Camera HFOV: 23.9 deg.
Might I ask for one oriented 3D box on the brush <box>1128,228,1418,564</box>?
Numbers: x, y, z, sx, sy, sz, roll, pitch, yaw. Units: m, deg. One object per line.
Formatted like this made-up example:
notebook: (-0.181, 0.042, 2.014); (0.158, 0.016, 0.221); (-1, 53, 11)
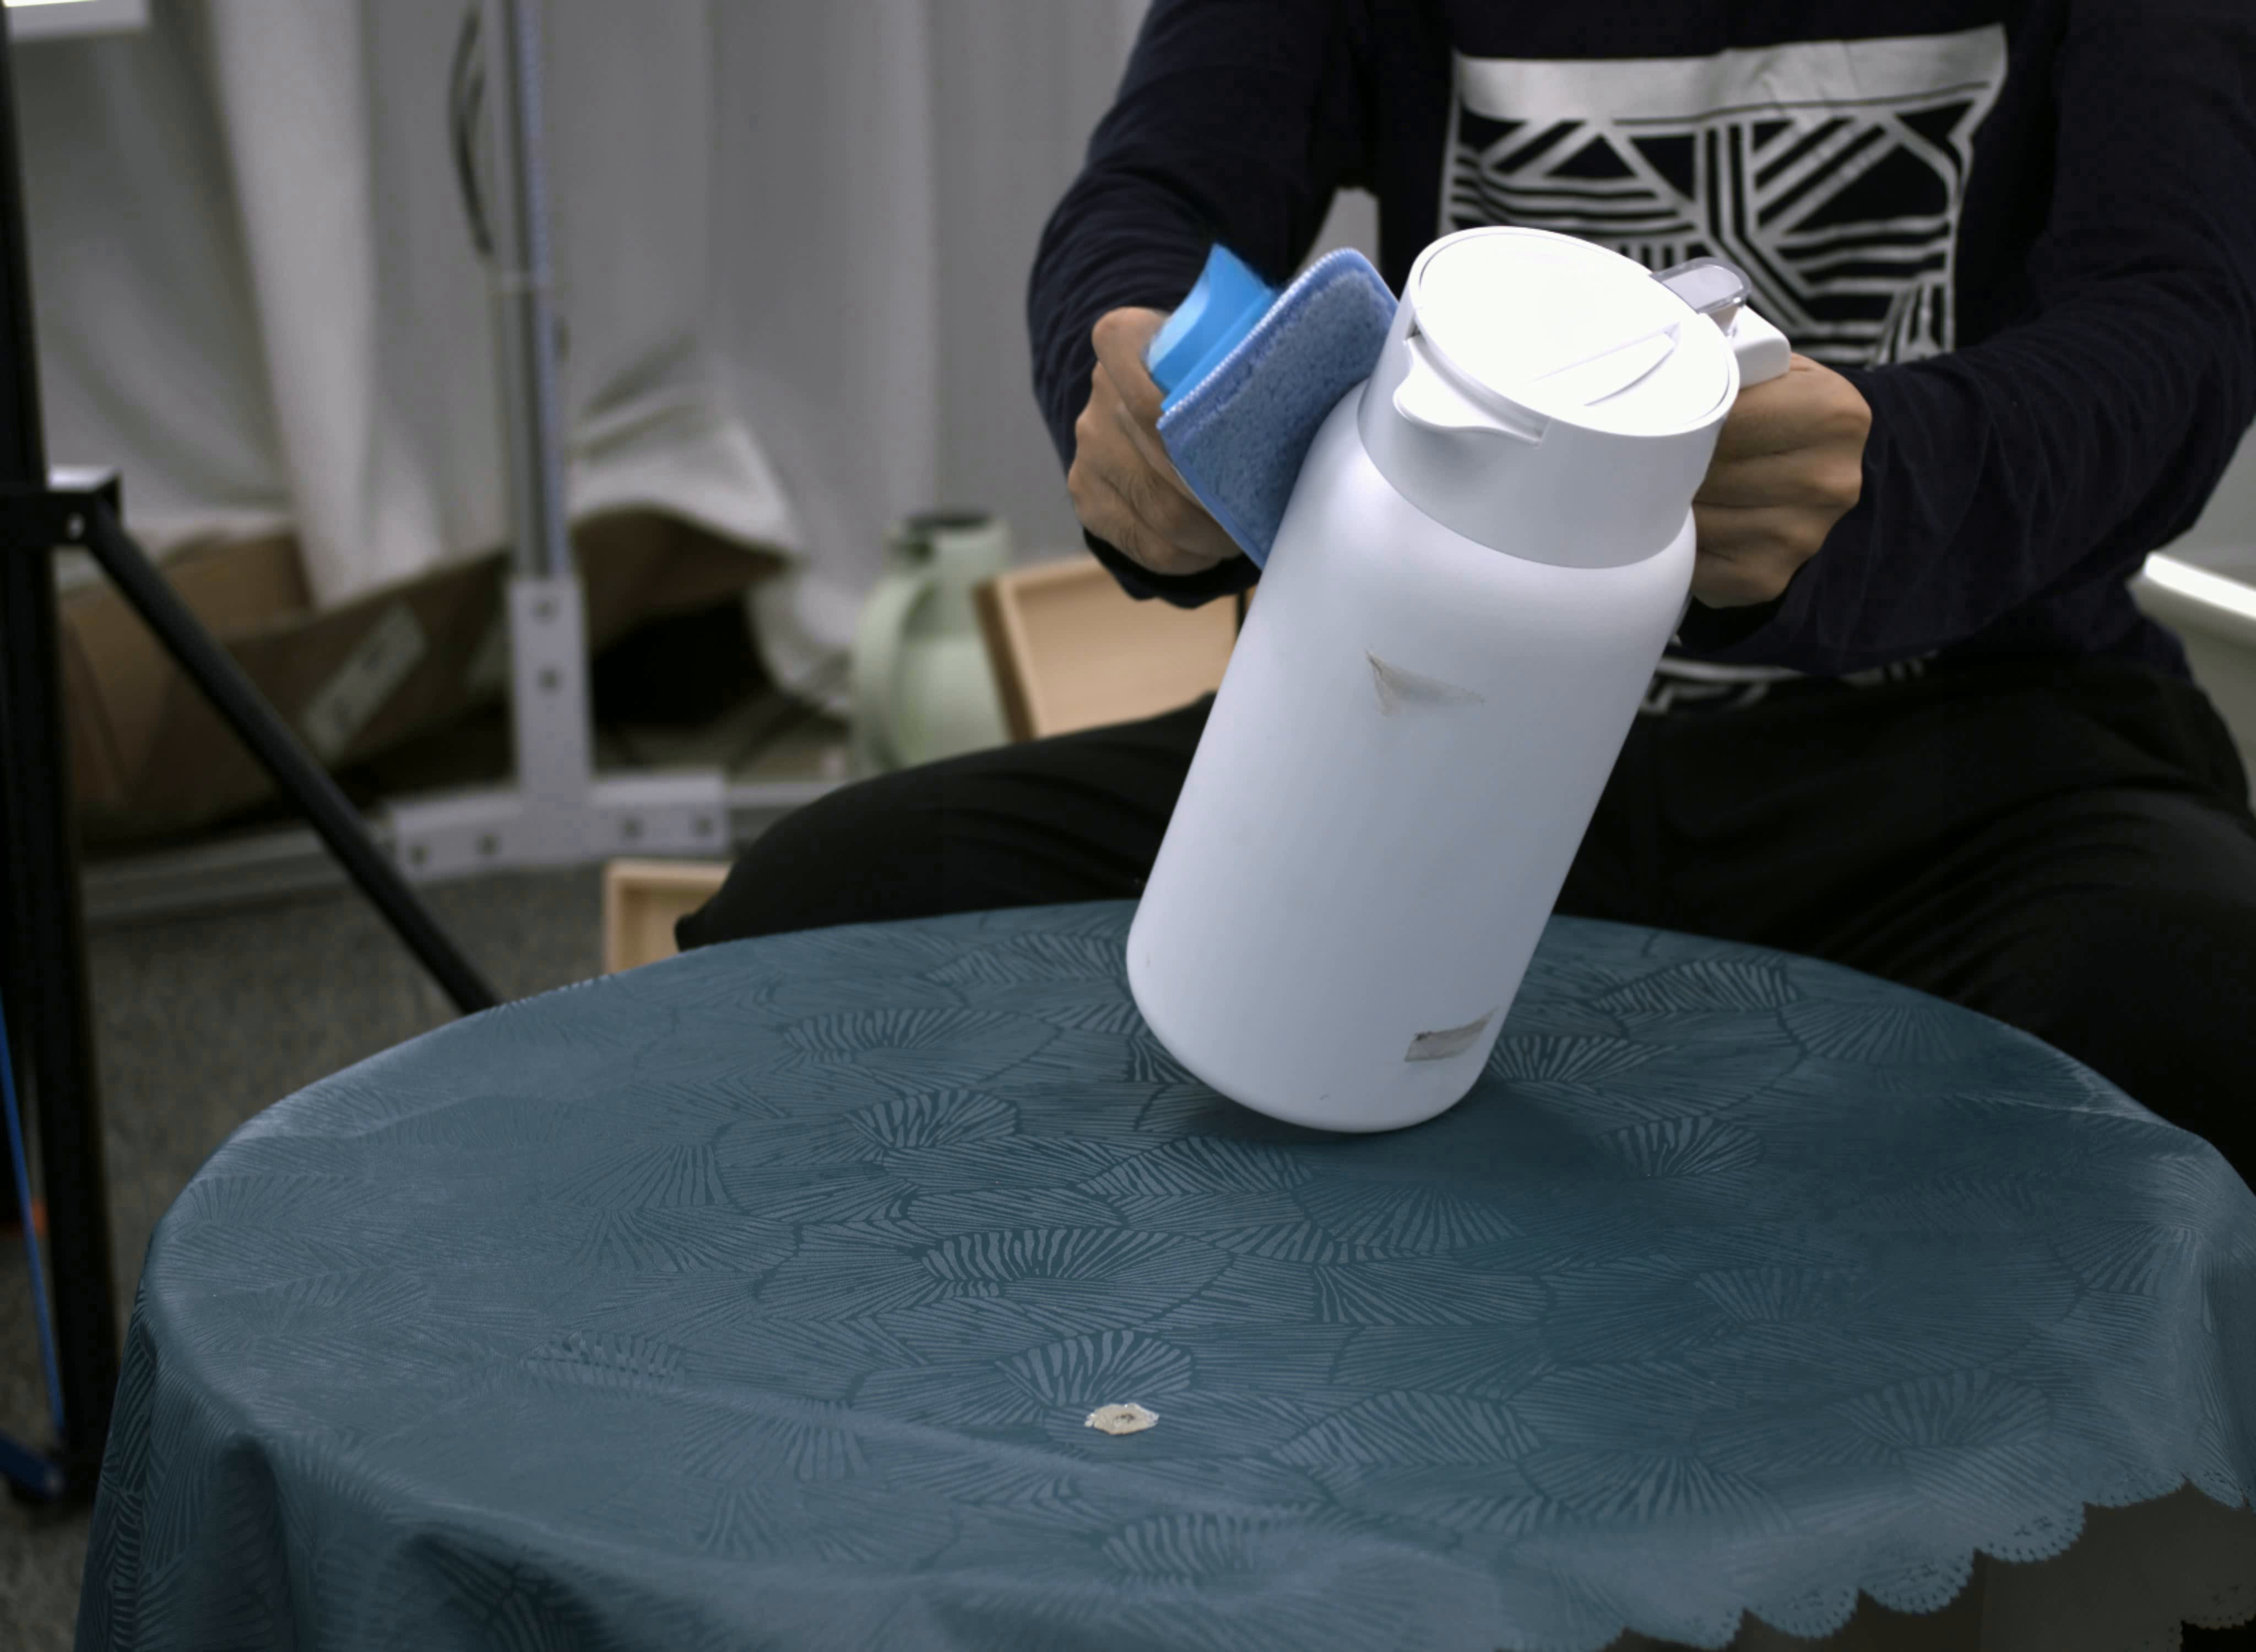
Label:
brush: (0.041, -0.131, 1.564); (0.057, 0.084, 0.141); (46, 5, 23)

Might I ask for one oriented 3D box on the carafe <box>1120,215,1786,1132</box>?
carafe: (0.099, -0.047, 1.573); (0.126, 0.269, 0.169); (39, 40, 27)
